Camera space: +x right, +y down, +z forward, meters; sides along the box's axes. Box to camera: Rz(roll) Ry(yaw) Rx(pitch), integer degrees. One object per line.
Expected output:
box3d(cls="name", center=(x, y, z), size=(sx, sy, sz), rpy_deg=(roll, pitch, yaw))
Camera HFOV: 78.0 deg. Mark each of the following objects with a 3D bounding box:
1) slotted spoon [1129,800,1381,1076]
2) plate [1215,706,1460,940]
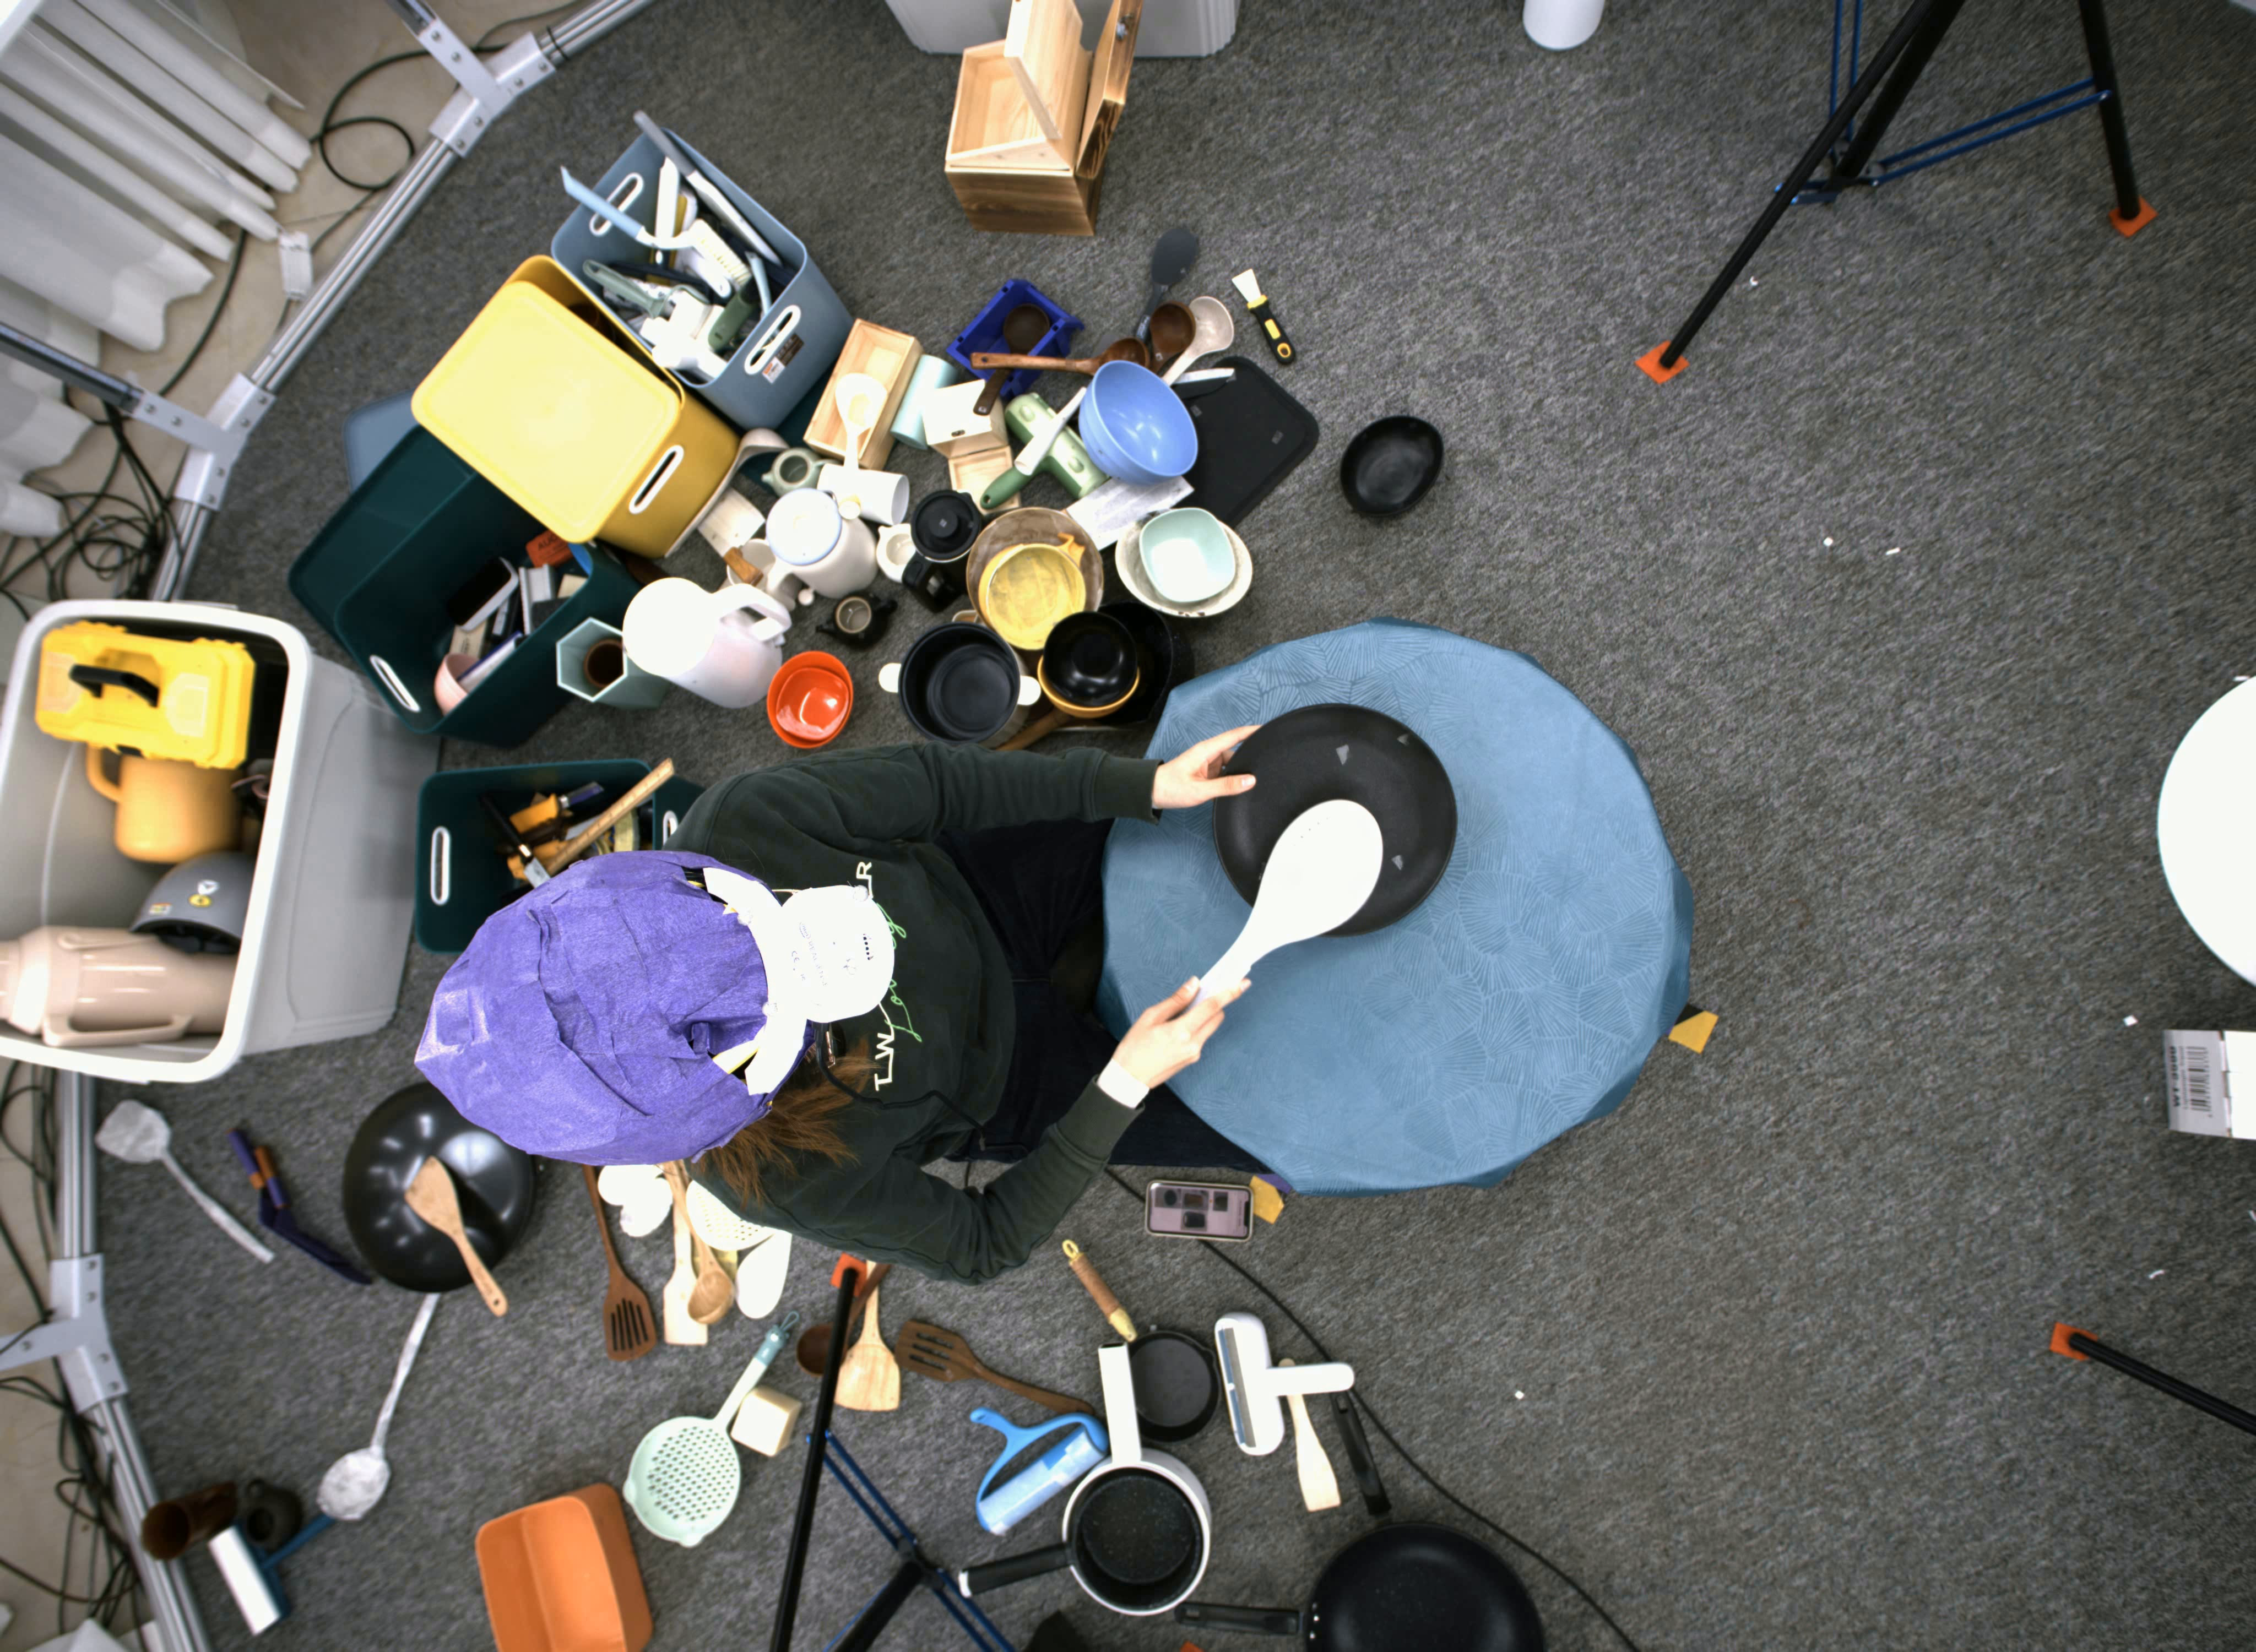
box3d(cls="slotted spoon", center=(0.120, 0.117, 1.351), size=(0.353, 0.046, 0.133), rpy_deg=(-45, 39, 13))
box3d(cls="plate", center=(0.211, -0.004, 1.393), size=(0.245, 0.023, 0.248), rpy_deg=(2, 108, 8))
